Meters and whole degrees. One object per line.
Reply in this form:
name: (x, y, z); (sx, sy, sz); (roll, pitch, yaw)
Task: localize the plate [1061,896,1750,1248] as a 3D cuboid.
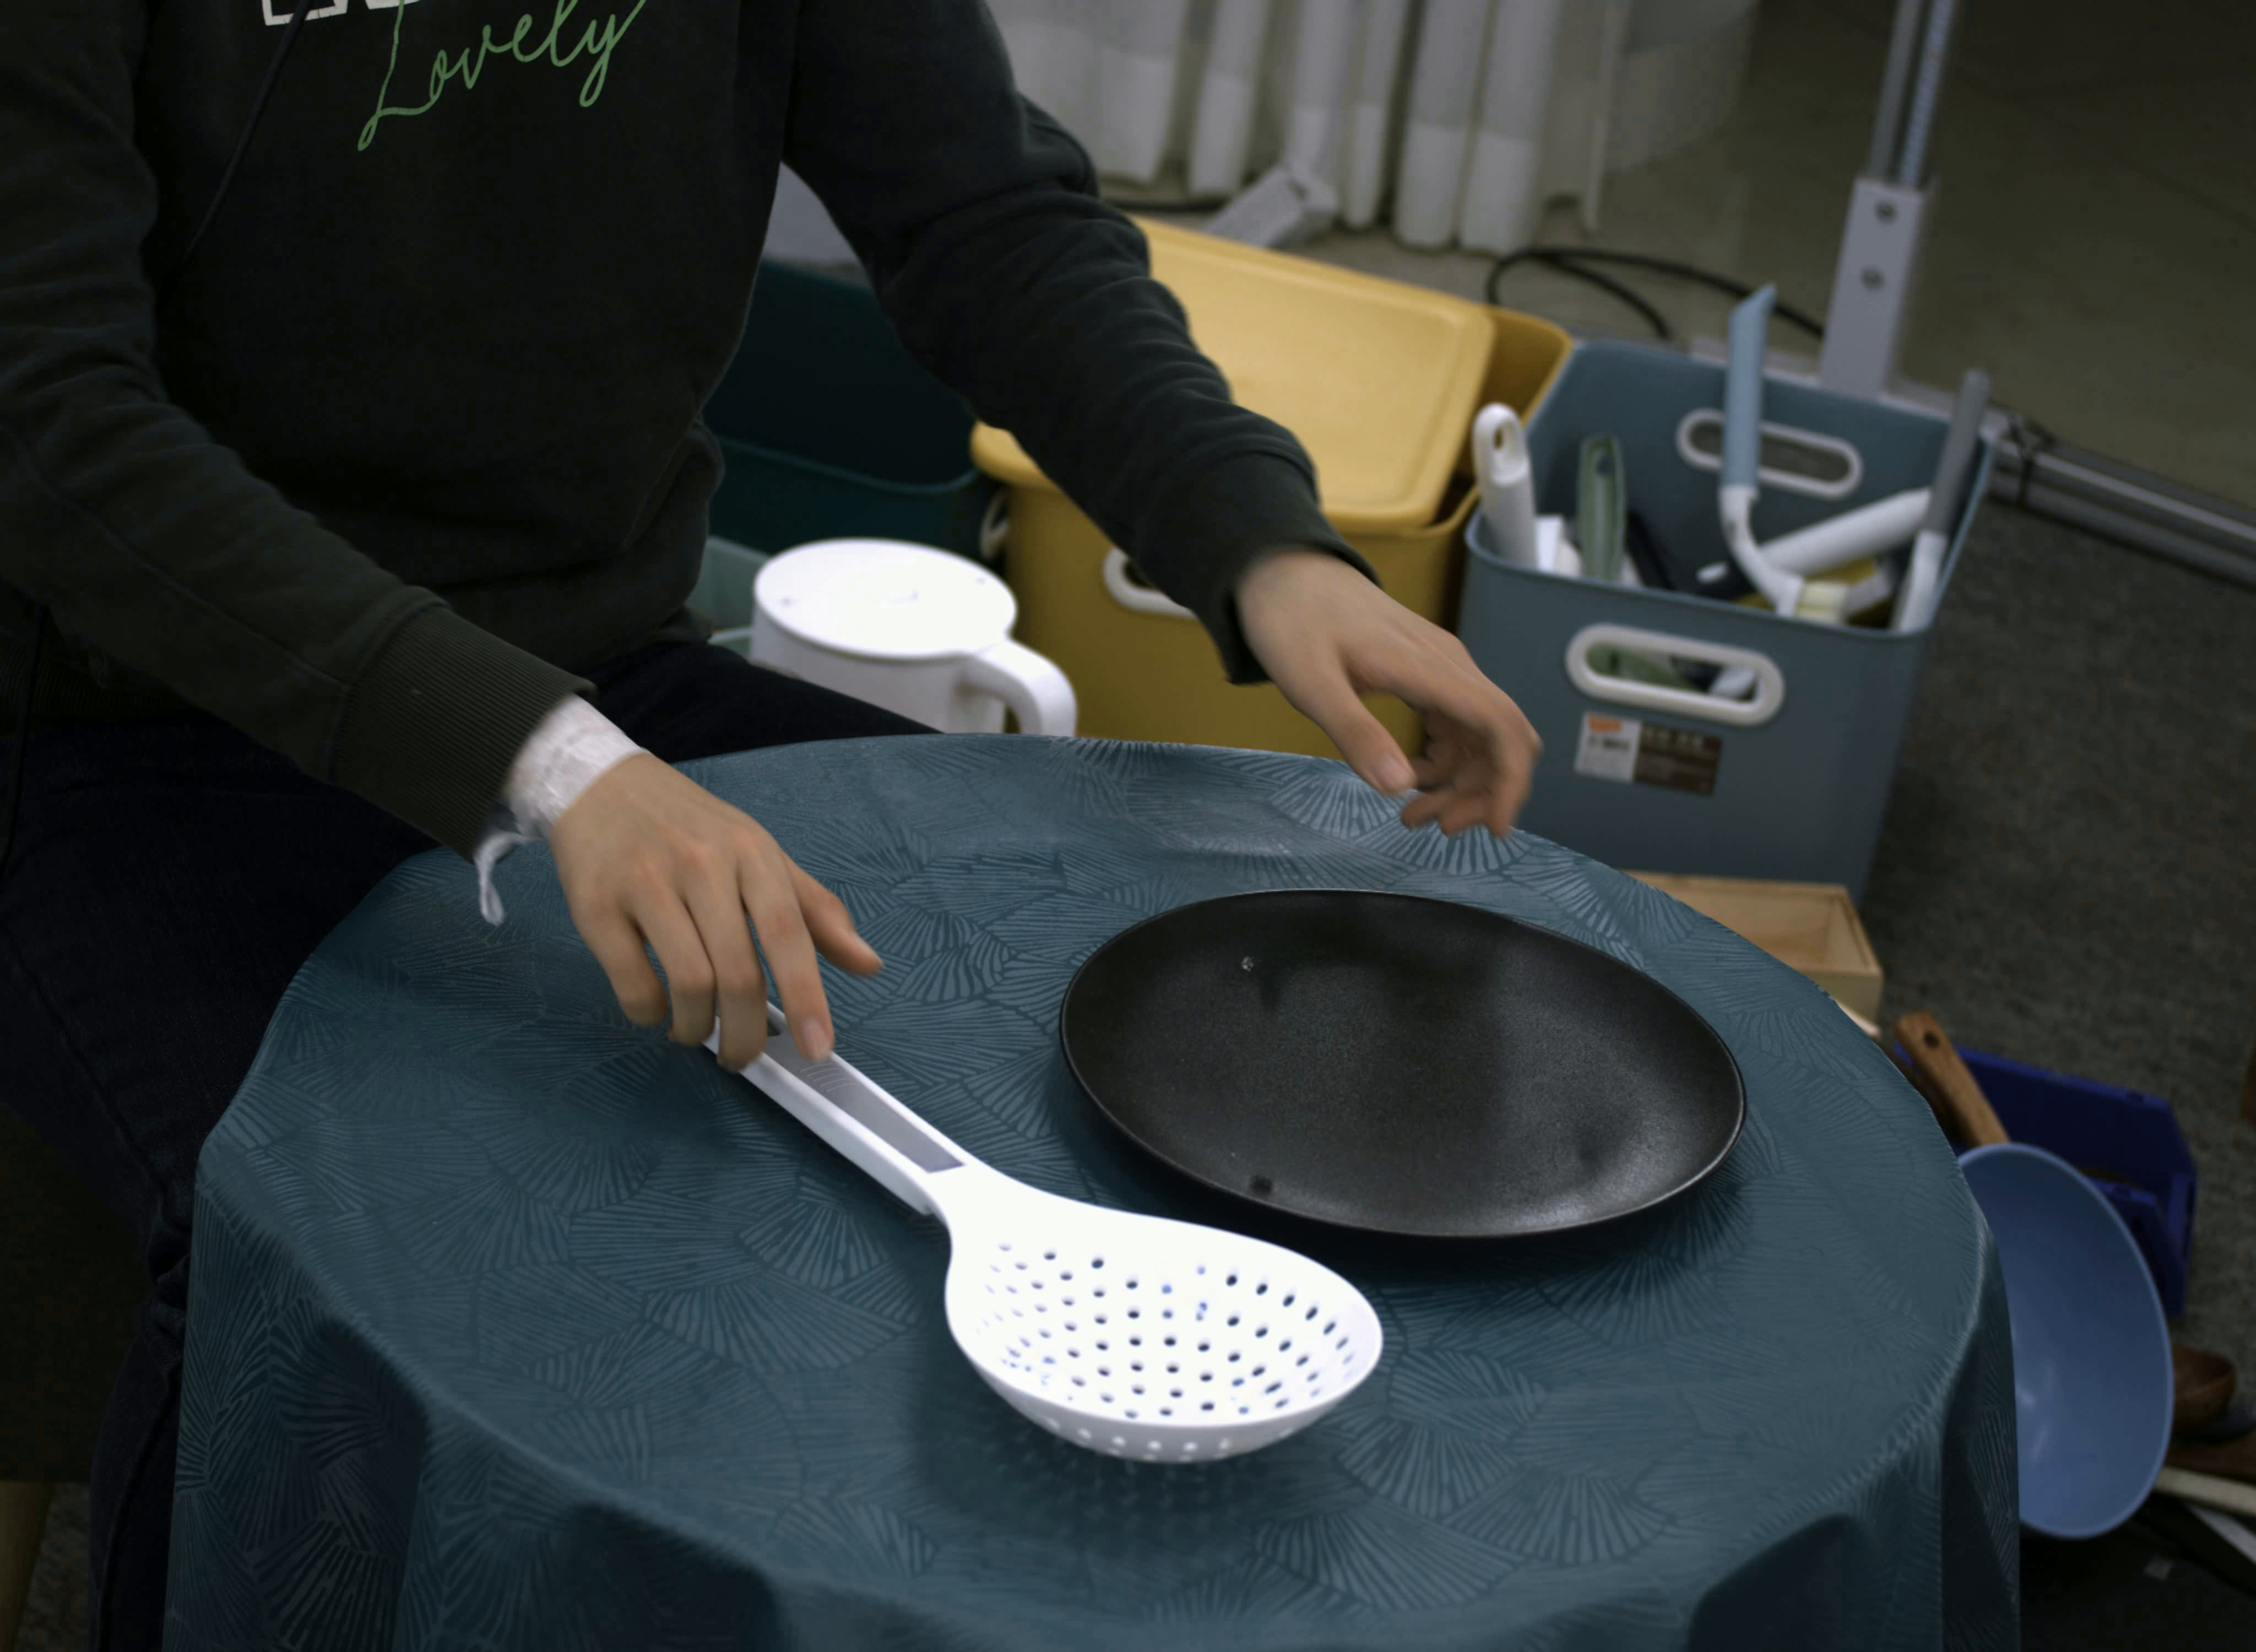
plate: (0.096, 0.090, 1.864); (0.243, 0.023, 0.246); (5, 26, -3)

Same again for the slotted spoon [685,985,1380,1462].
slotted spoon: (-0.050, 0.123, 1.739); (0.135, 0.045, 0.353); (-9, 30, -33)
